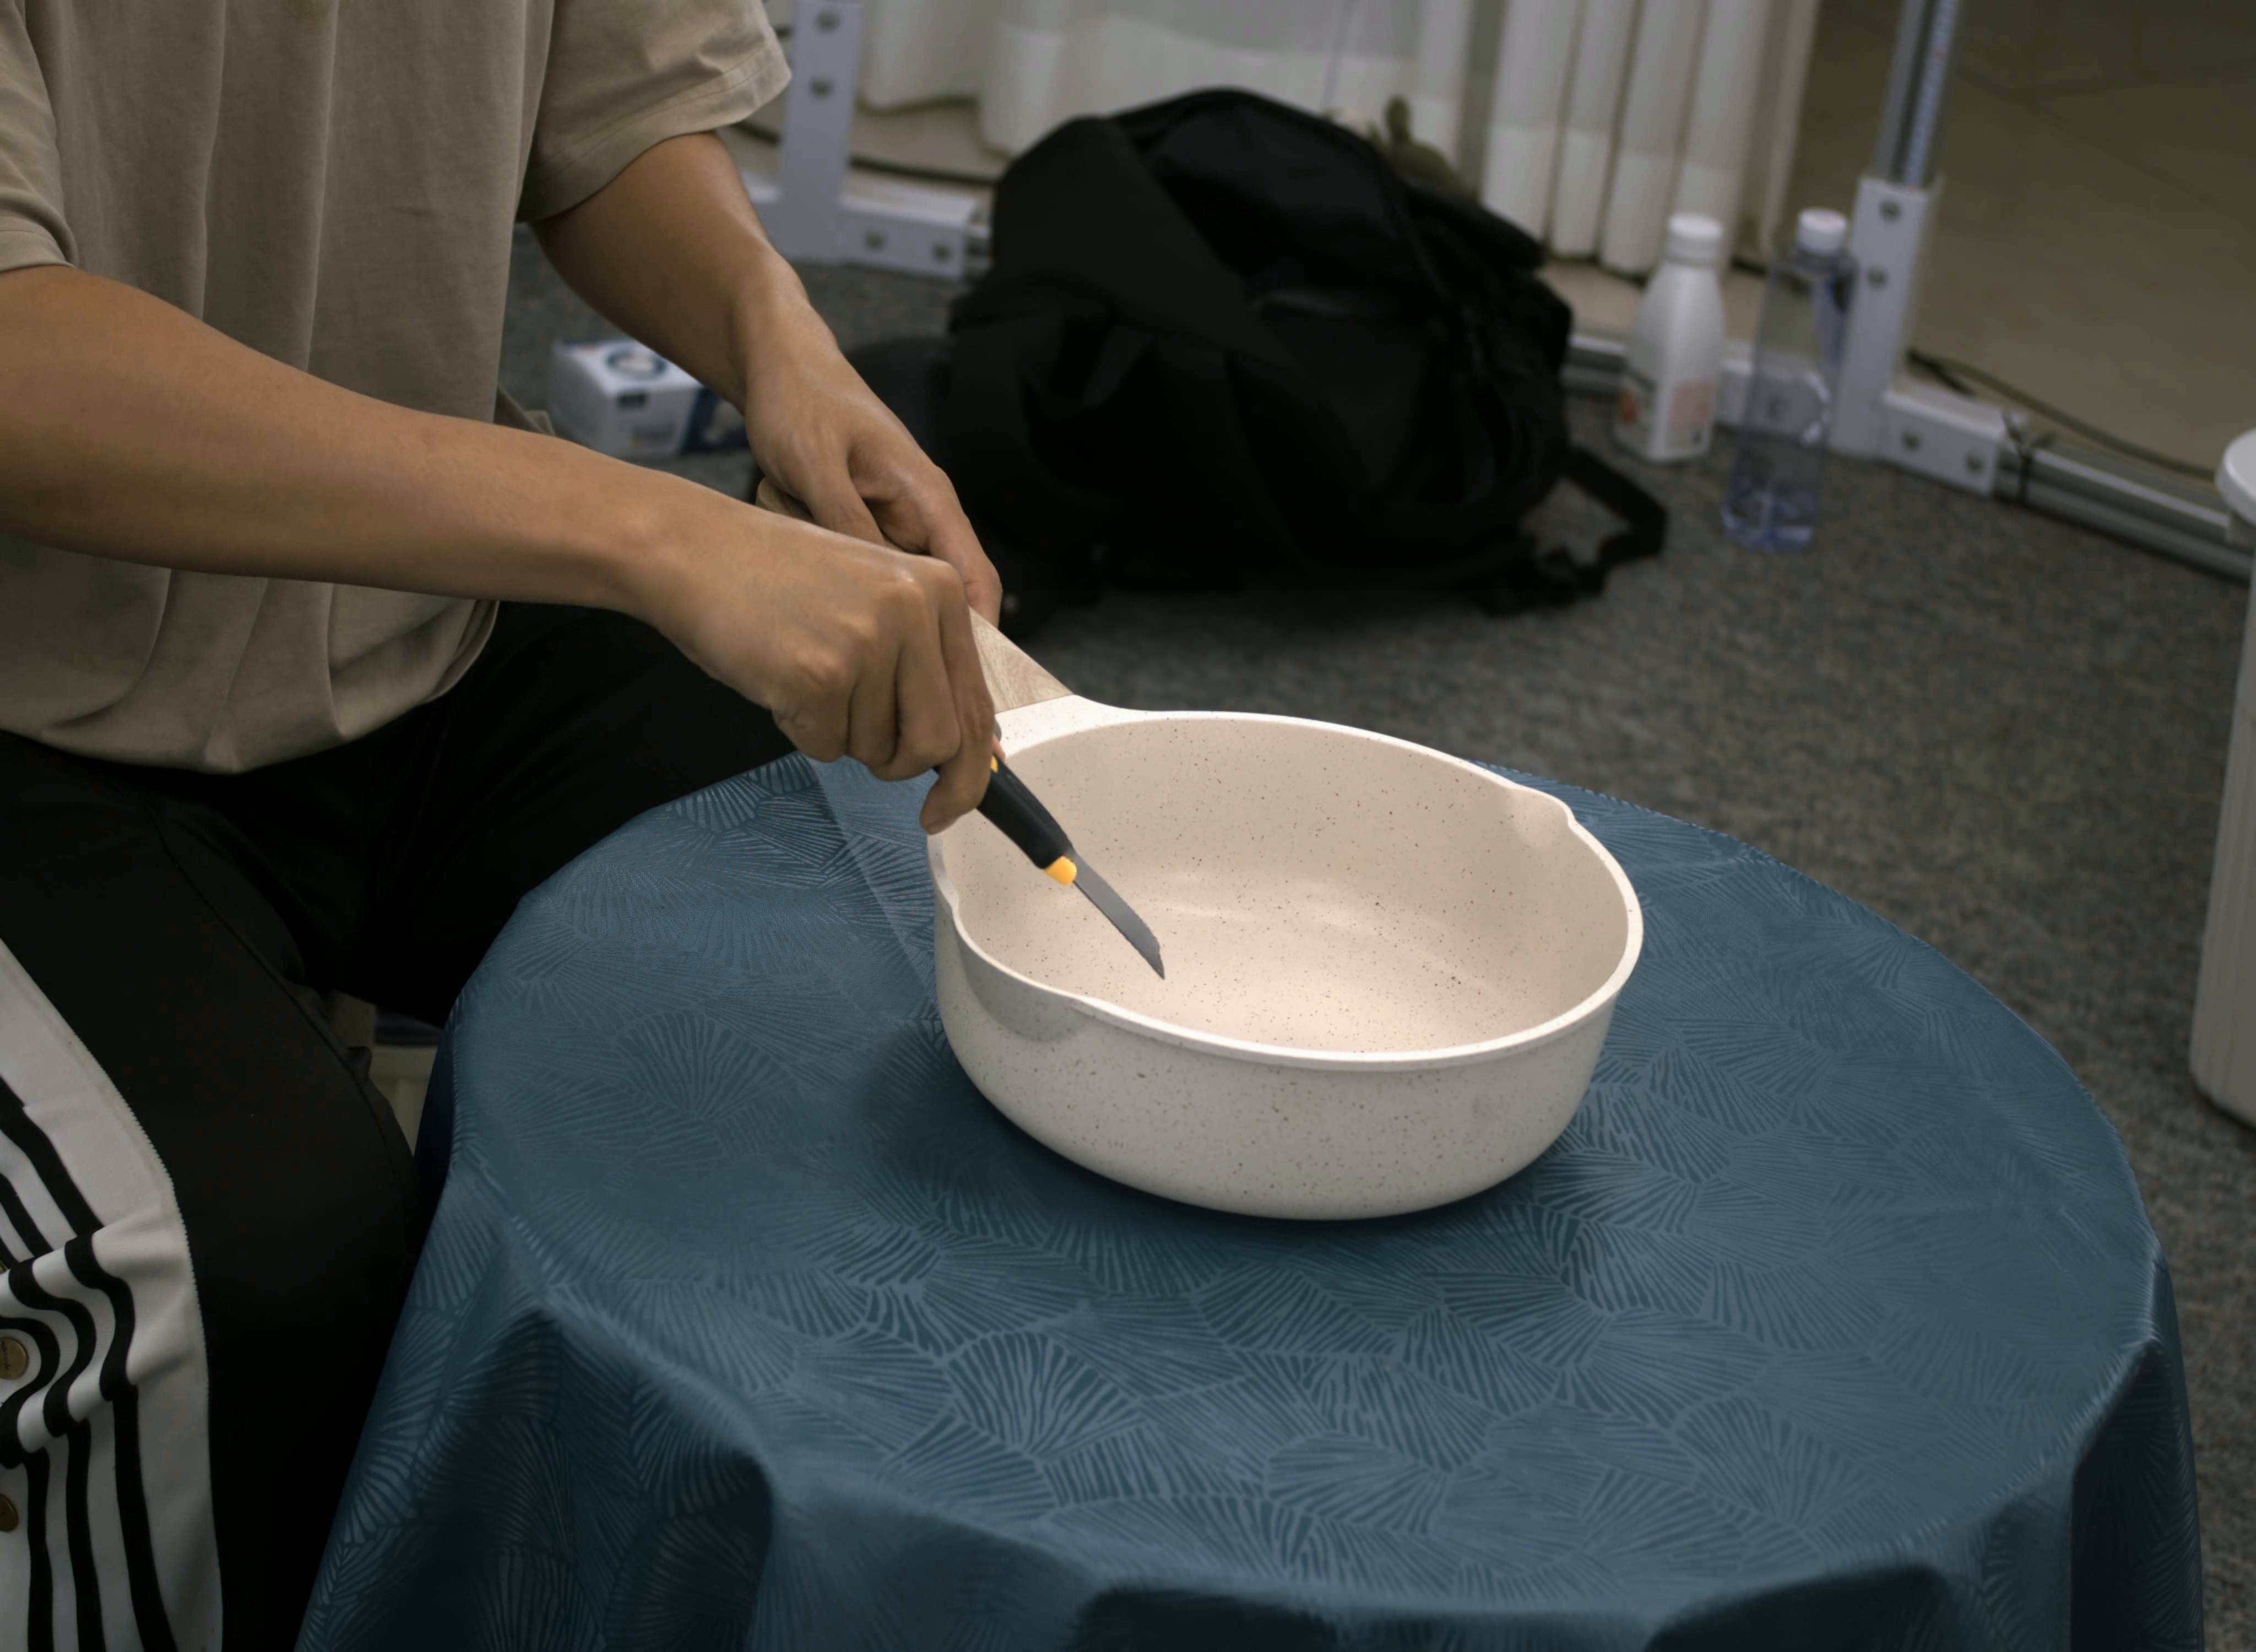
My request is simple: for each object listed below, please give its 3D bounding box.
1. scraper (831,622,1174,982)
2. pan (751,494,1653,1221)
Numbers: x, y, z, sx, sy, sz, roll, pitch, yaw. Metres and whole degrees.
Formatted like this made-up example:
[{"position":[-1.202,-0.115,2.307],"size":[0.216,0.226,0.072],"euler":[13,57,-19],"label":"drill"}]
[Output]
[{"position":[-0.042,-0.009,1.813],"size":[0.170,0.015,0.039],"euler":[45,25,-24],"label":"scraper"},{"position":[-0.002,0.007,1.927],"size":[0.262,0.101,0.438],"euler":[-17,36,-35],"label":"pan"}]
